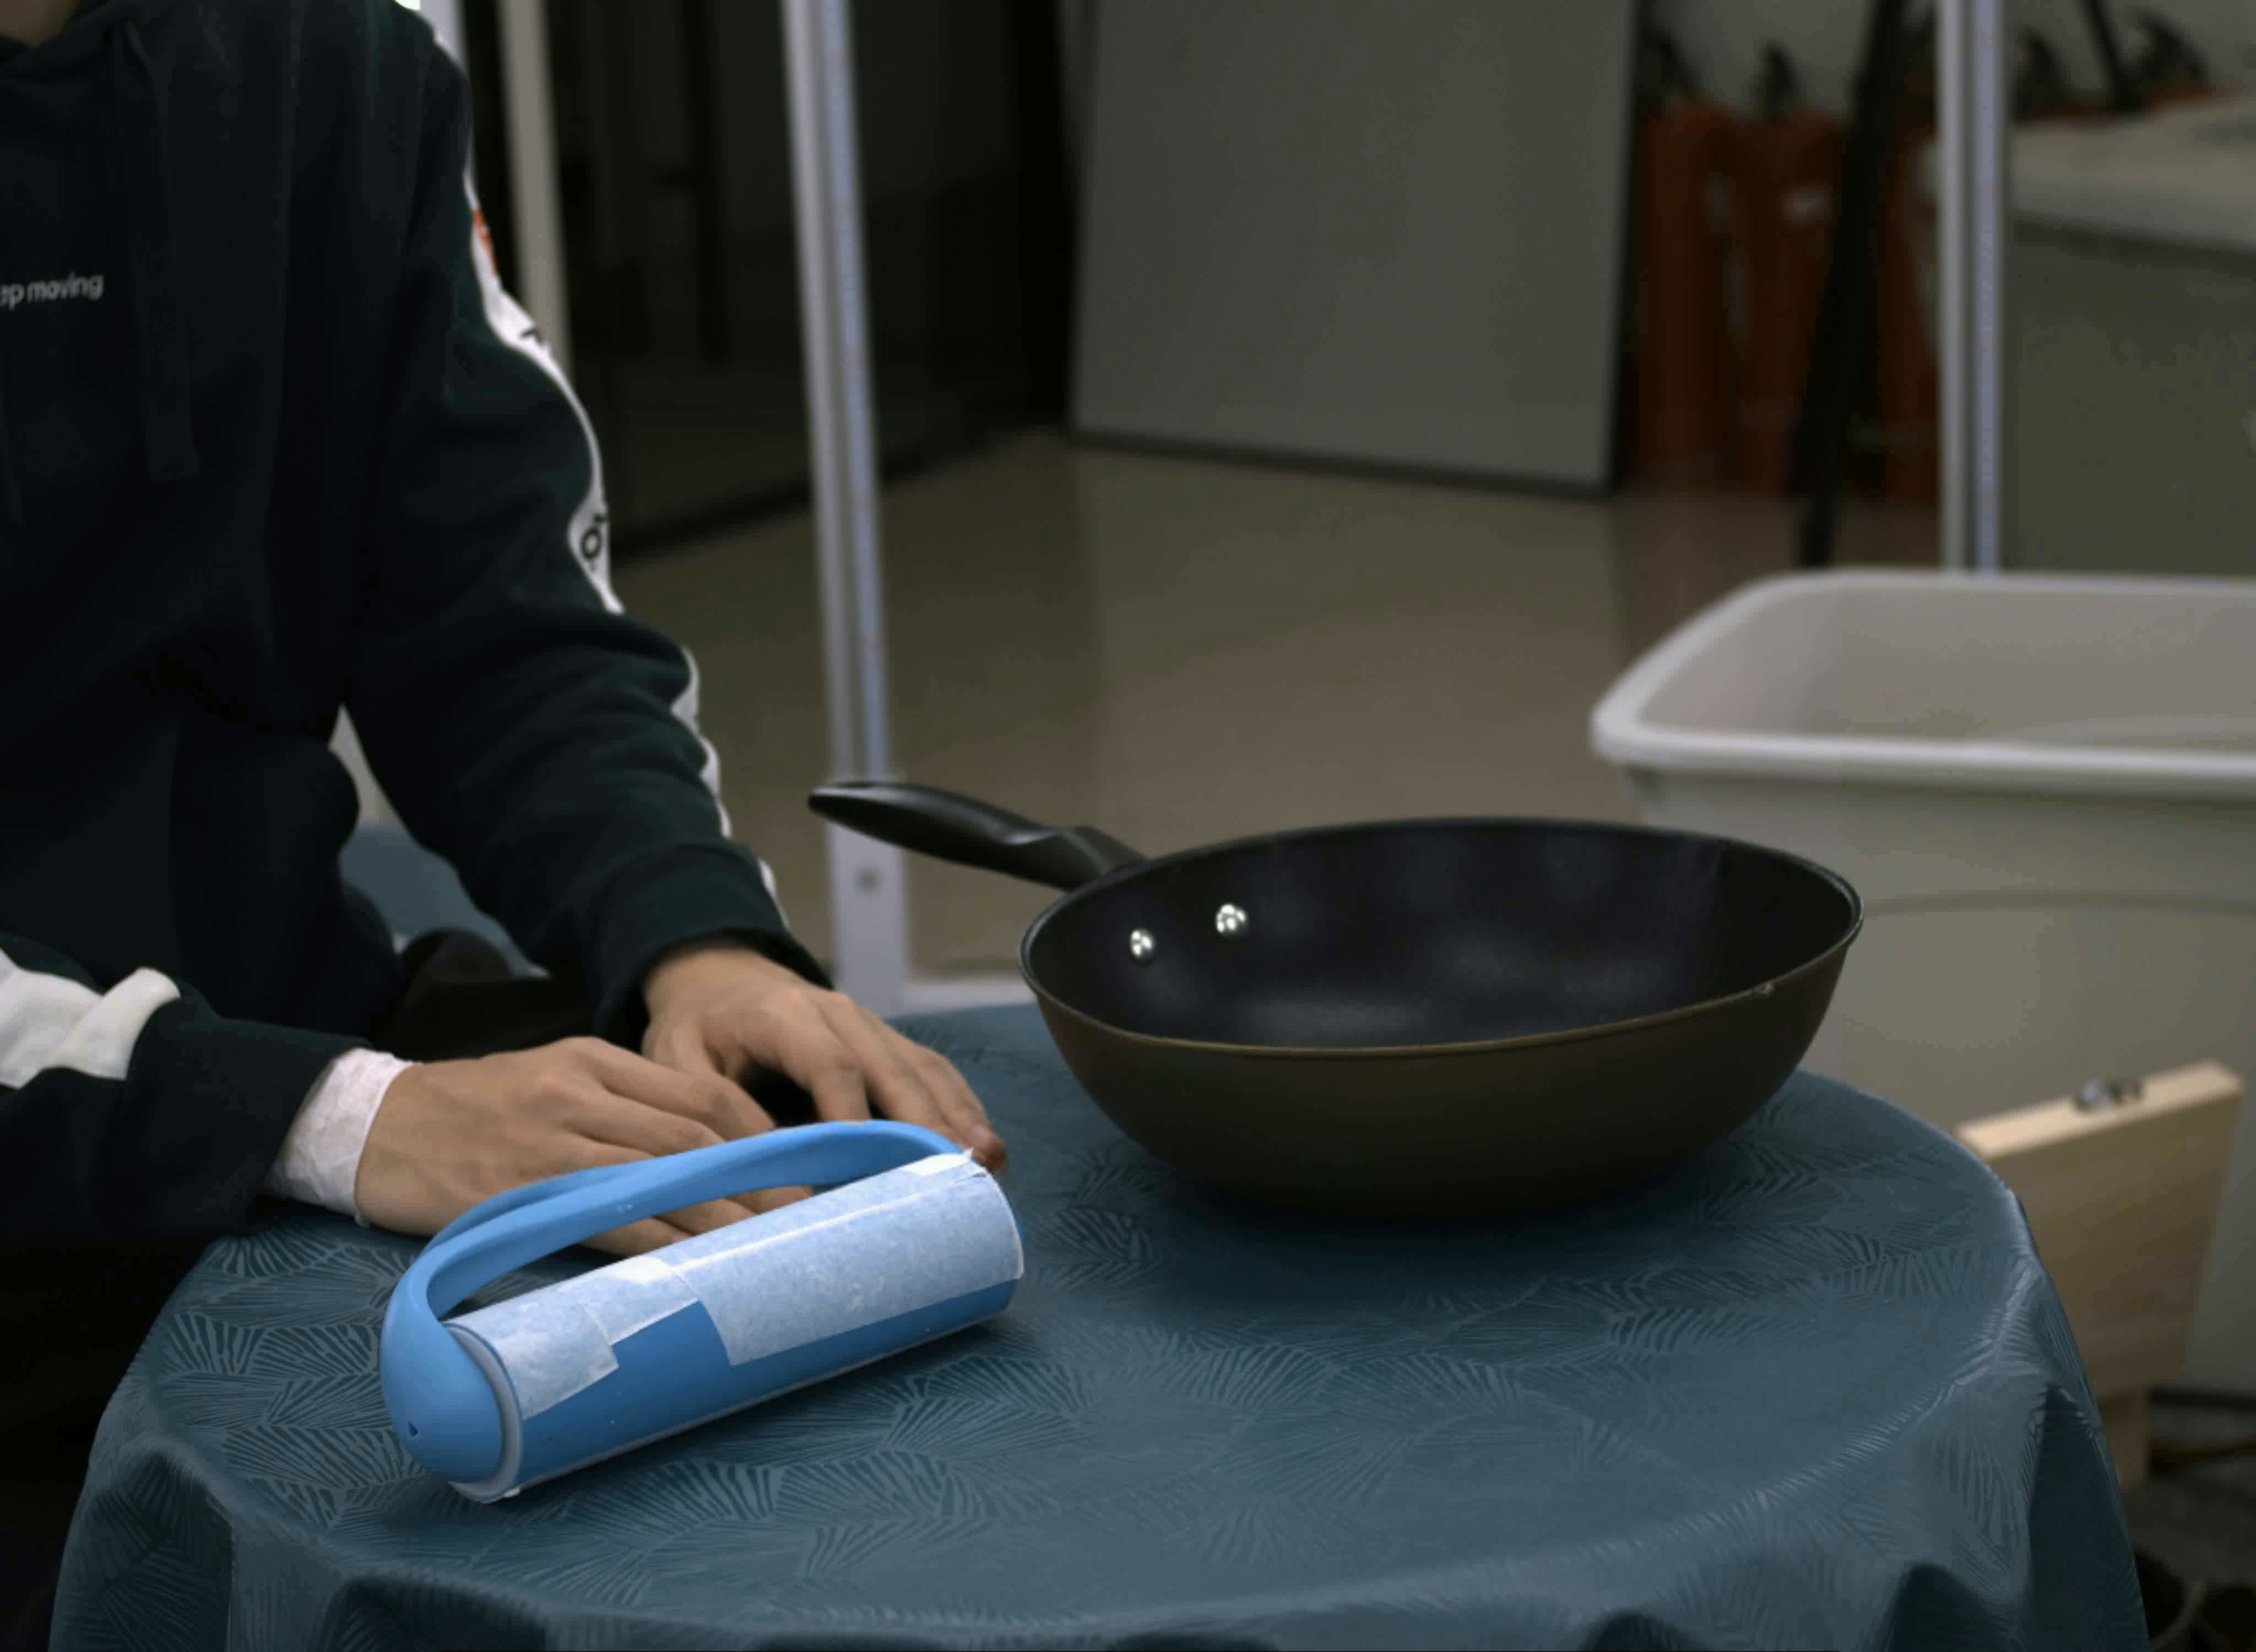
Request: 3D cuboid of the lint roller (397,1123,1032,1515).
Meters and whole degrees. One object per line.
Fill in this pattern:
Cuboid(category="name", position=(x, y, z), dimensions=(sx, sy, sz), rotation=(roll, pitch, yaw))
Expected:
Cuboid(category="lint roller", position=(-0.158, 0.139, 1.631), dimensions=(0.182, 0.068, 0.224), rotation=(10, 22, 43))

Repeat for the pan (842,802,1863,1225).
Cuboid(category="pan", position=(0.045, 0.059, 1.844), dimensions=(0.282, 0.088, 0.468), rotation=(-14, 16, -38))
